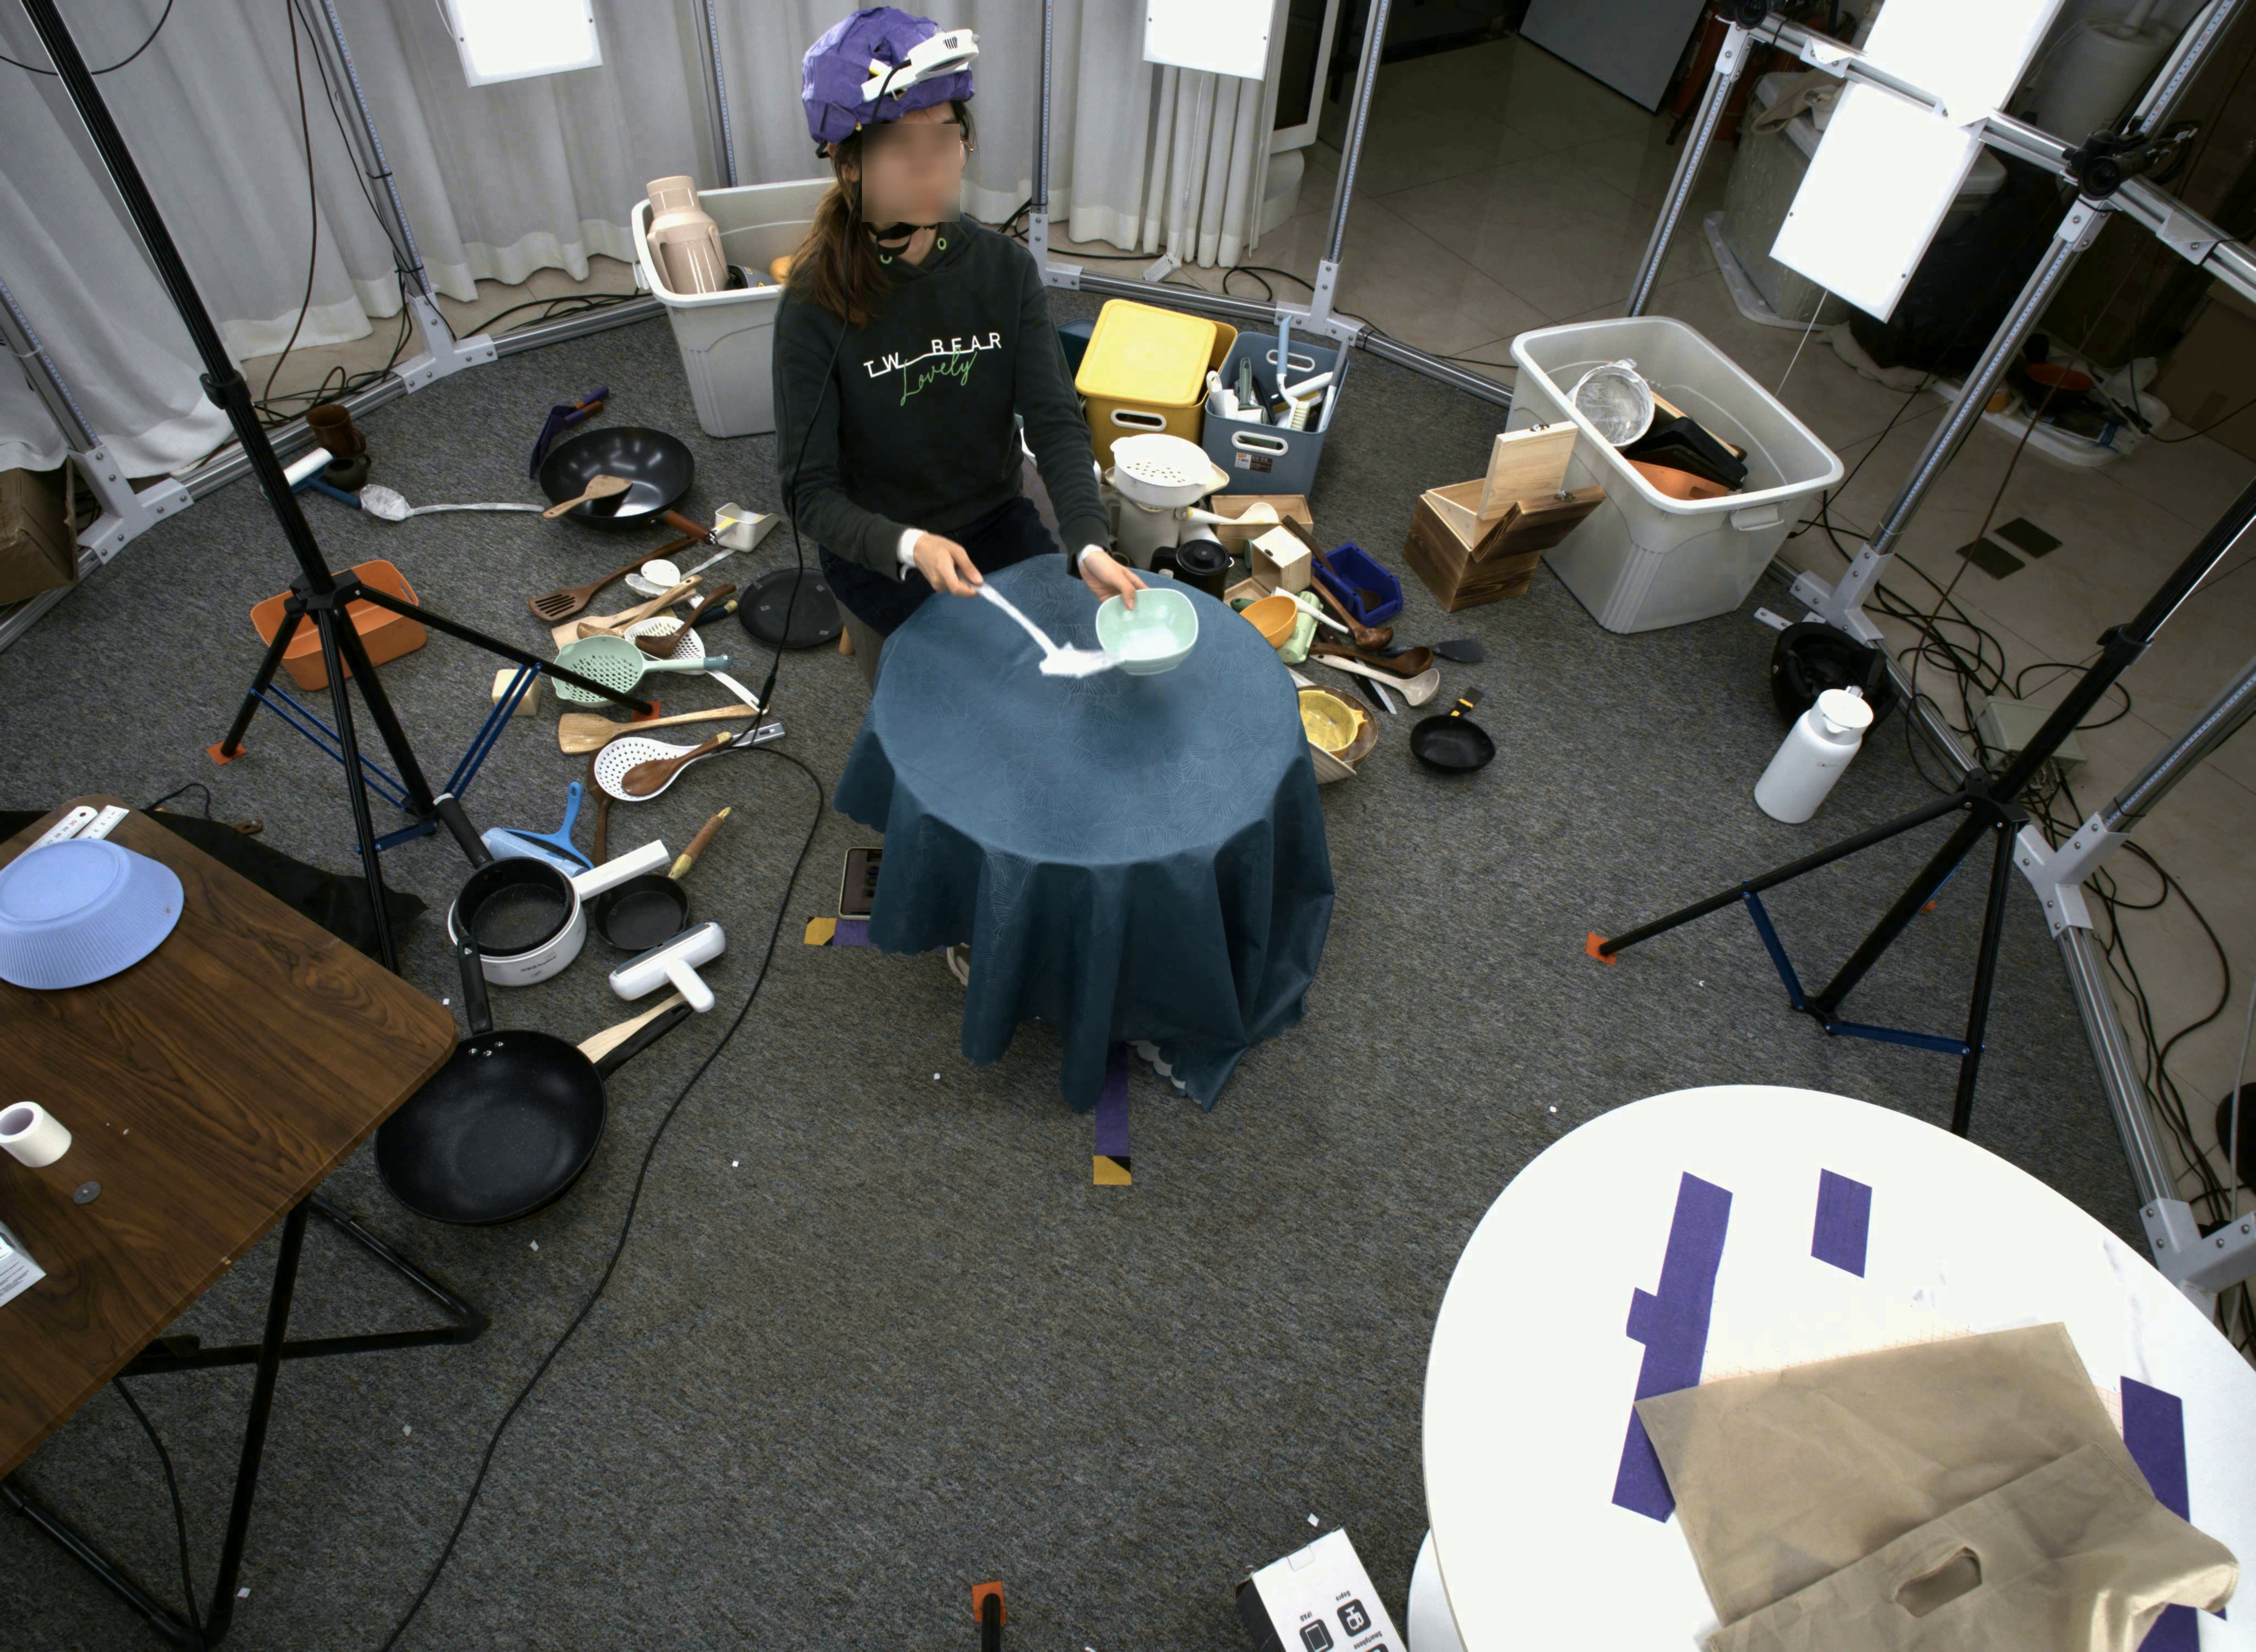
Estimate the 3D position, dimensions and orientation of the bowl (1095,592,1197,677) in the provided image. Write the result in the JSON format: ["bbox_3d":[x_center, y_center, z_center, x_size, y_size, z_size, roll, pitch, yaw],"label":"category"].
[{"bbox_3d":[0.026,-0.258,1.786,0.151,0.057,0.155,-2,51,2],"label":"bowl"}]

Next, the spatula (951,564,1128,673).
[{"bbox_3d":[-0.141,-0.284,1.714,0.099,0.044,0.372,-22,47,-31],"label":"spatula"}]
